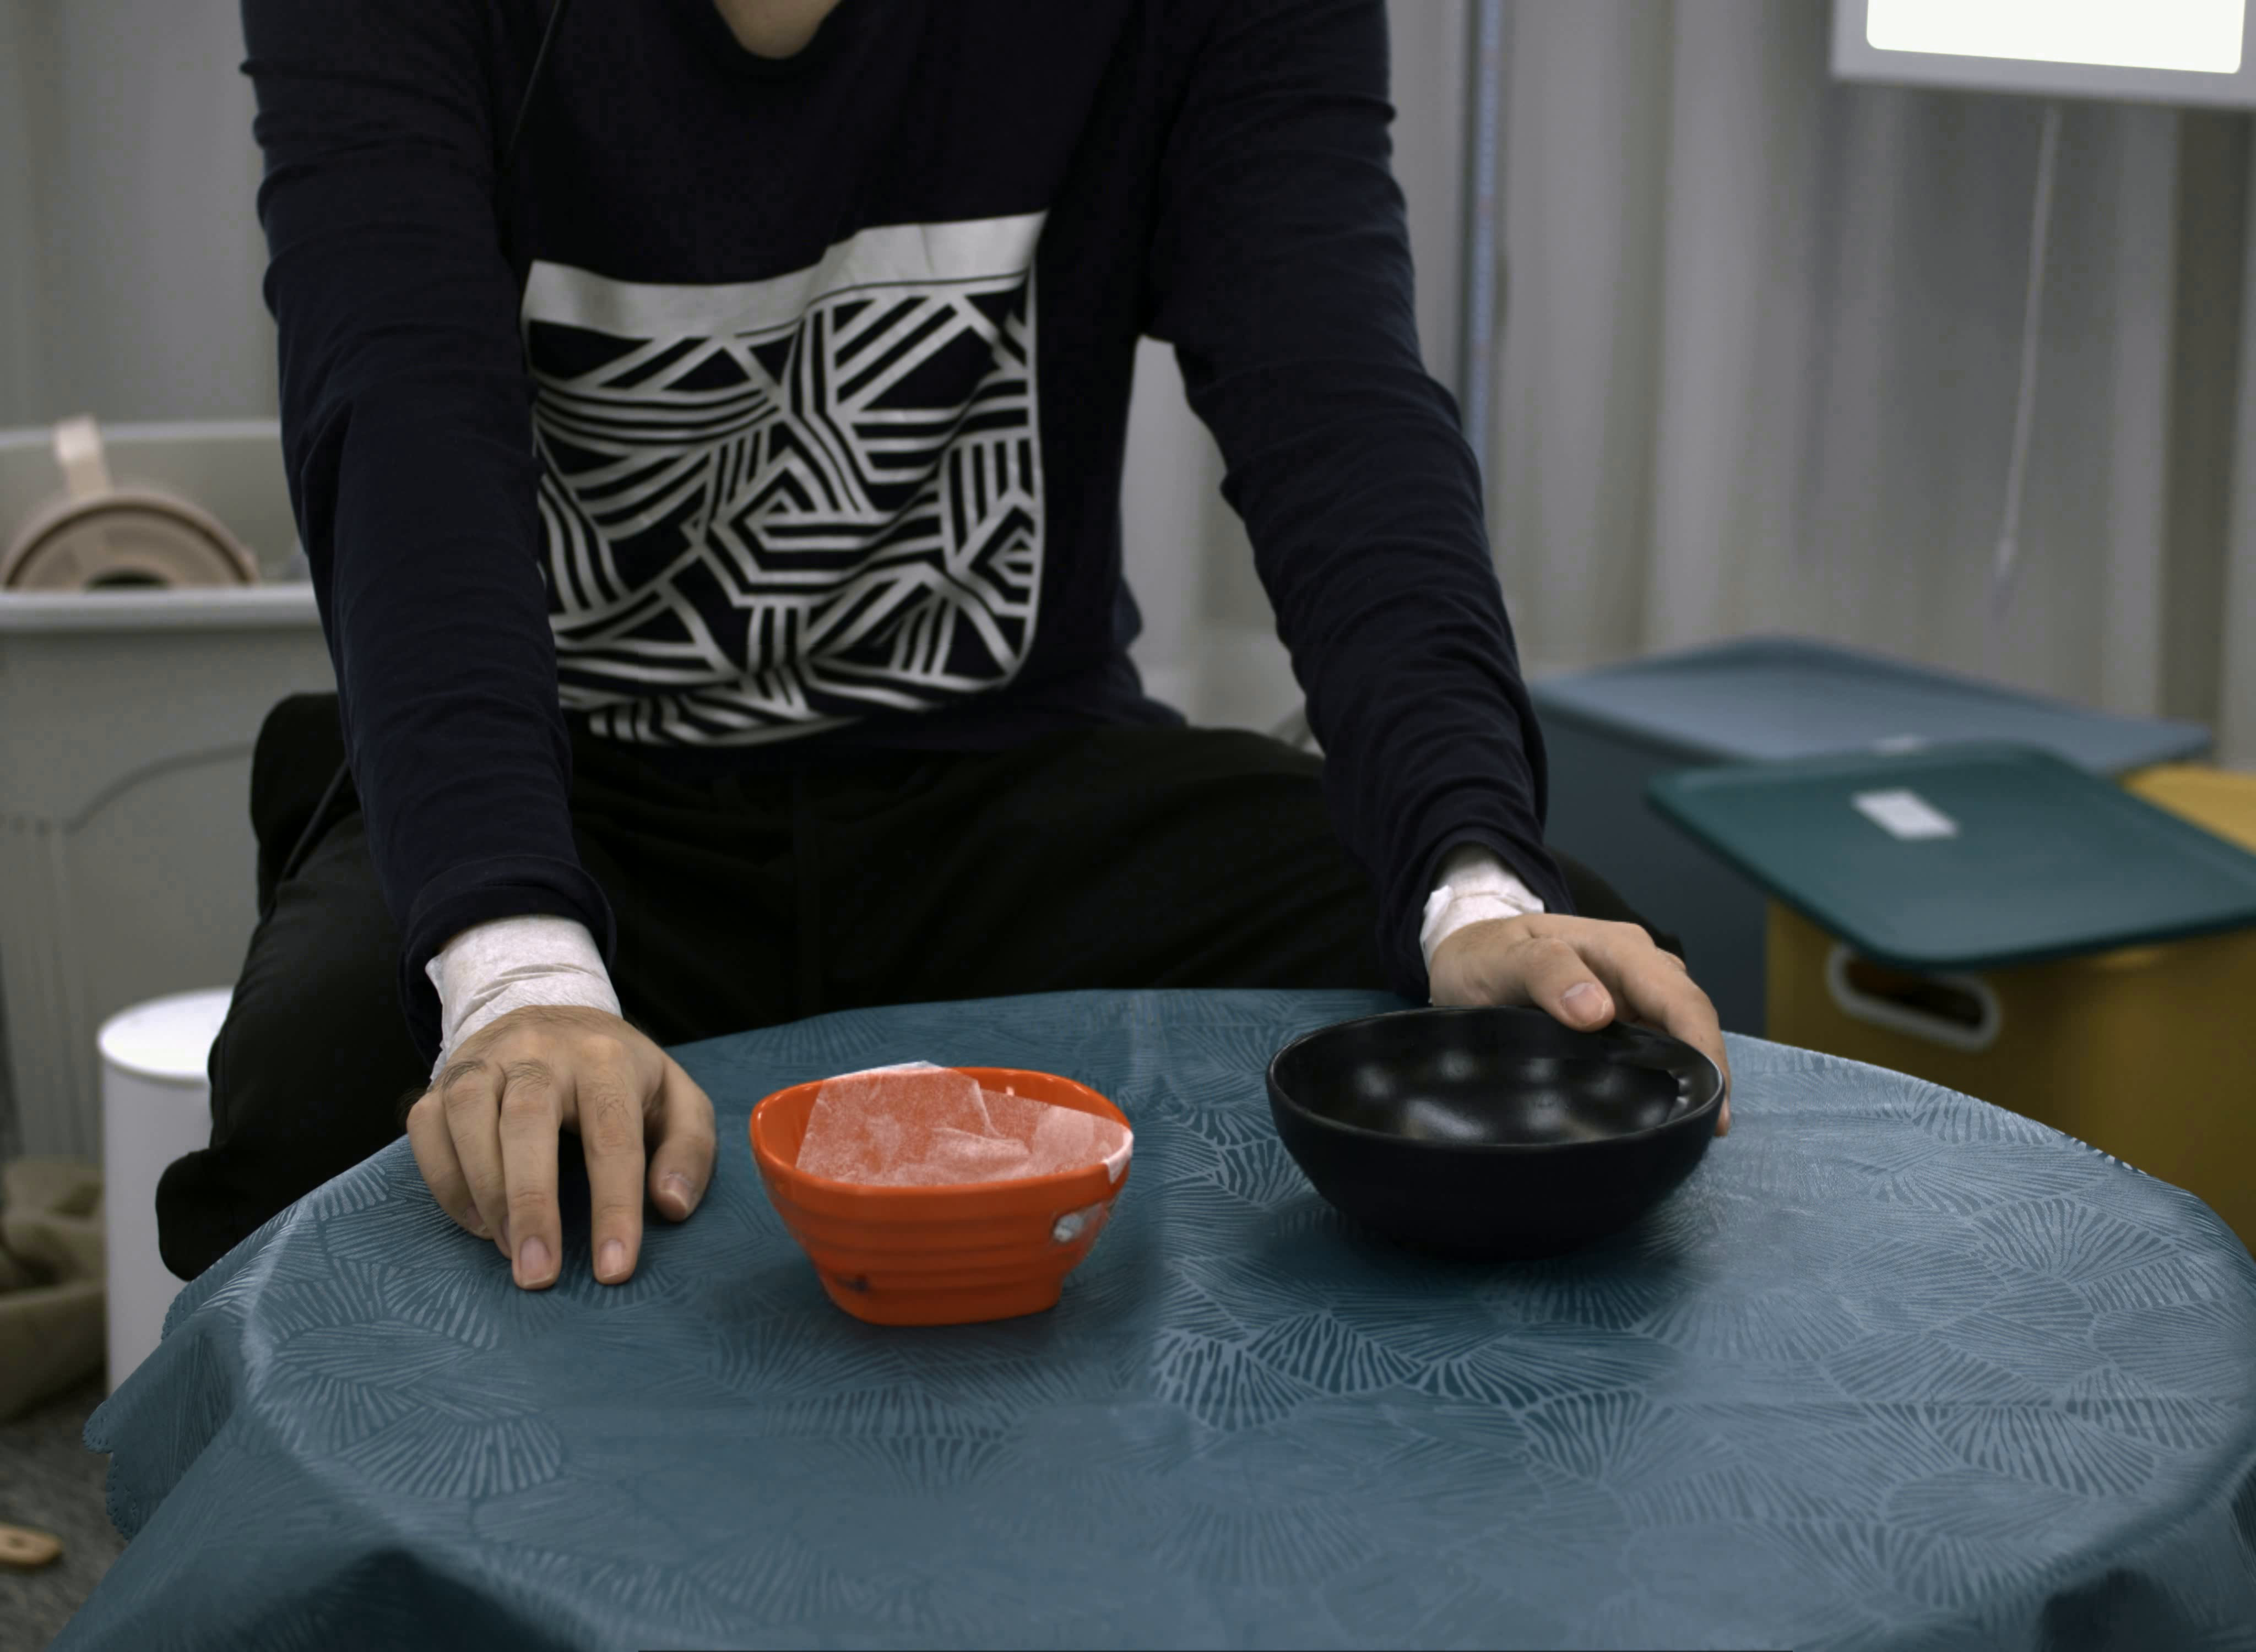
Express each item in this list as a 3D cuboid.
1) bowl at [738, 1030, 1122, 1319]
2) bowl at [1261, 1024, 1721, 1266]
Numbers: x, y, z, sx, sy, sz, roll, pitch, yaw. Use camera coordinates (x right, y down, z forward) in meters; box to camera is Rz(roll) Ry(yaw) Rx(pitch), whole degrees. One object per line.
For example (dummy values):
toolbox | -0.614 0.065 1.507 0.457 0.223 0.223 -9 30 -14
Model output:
bowl | -0.056 0.105 1.534 0.118 0.052 0.118 -4 21 2
bowl | 0.110 0.100 1.592 0.139 0.050 0.139 -1 12 1
